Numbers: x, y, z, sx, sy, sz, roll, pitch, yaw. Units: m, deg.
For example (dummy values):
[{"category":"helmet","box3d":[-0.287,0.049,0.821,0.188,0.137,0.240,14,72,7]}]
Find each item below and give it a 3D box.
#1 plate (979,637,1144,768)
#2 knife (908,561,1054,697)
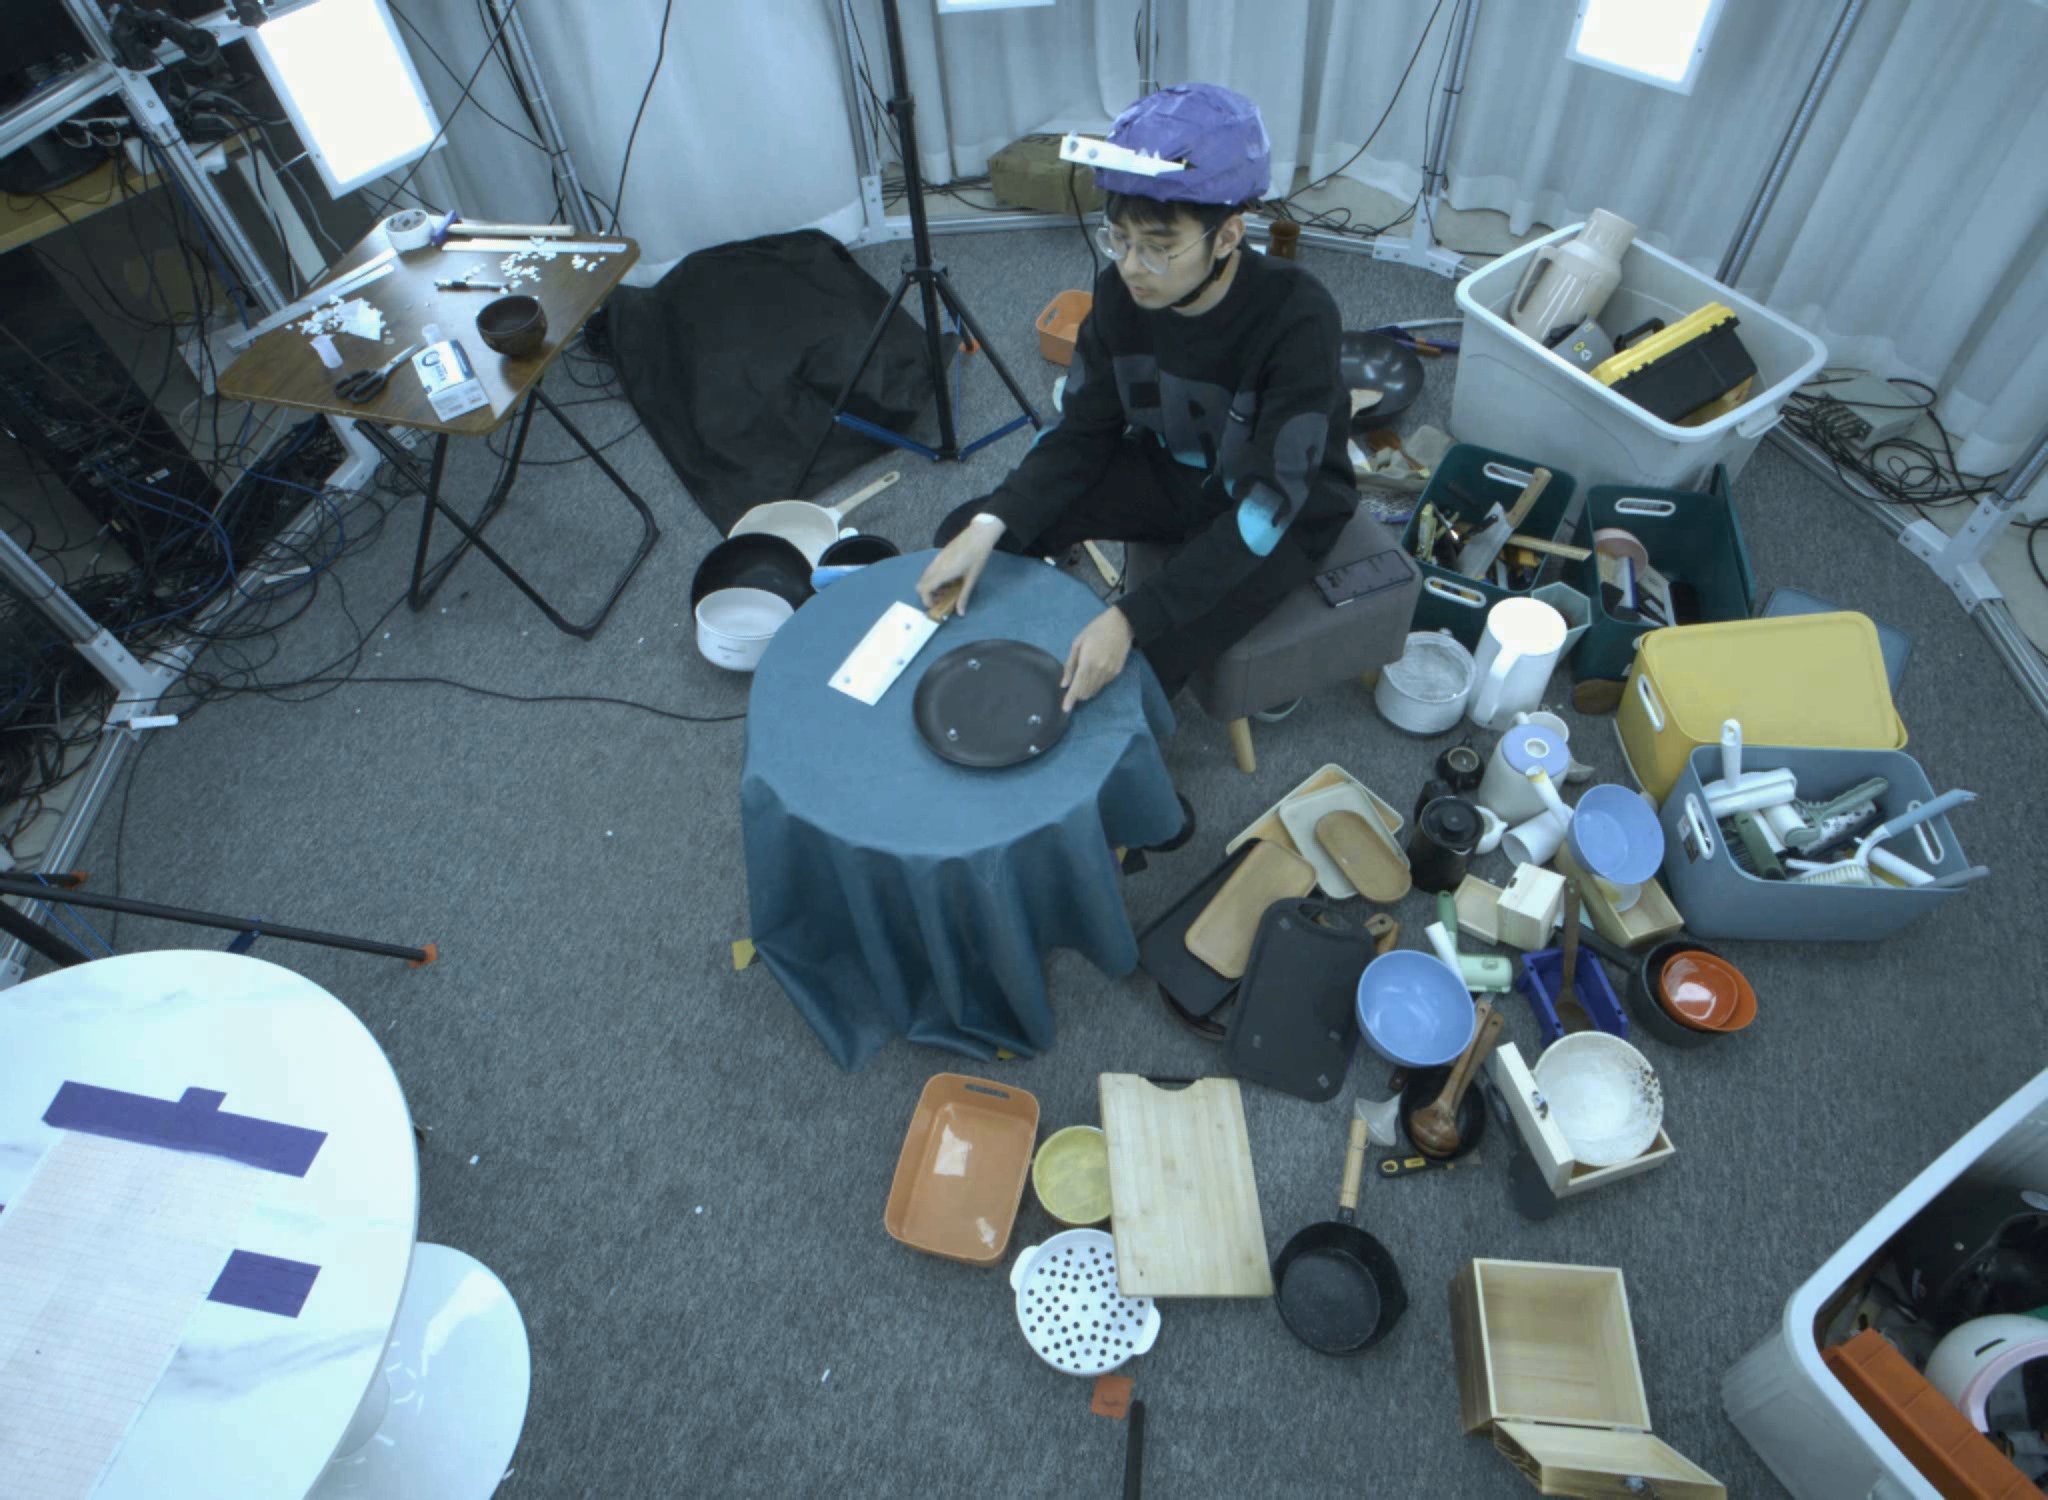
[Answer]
[{"category":"plate","box3d":[0.056,-0.069,1.819,0.244,0.024,0.242,-1,55,2]},{"category":"knife","box3d":[-0.070,-0.201,1.923,0.091,0.021,0.307,29,63,22]}]
